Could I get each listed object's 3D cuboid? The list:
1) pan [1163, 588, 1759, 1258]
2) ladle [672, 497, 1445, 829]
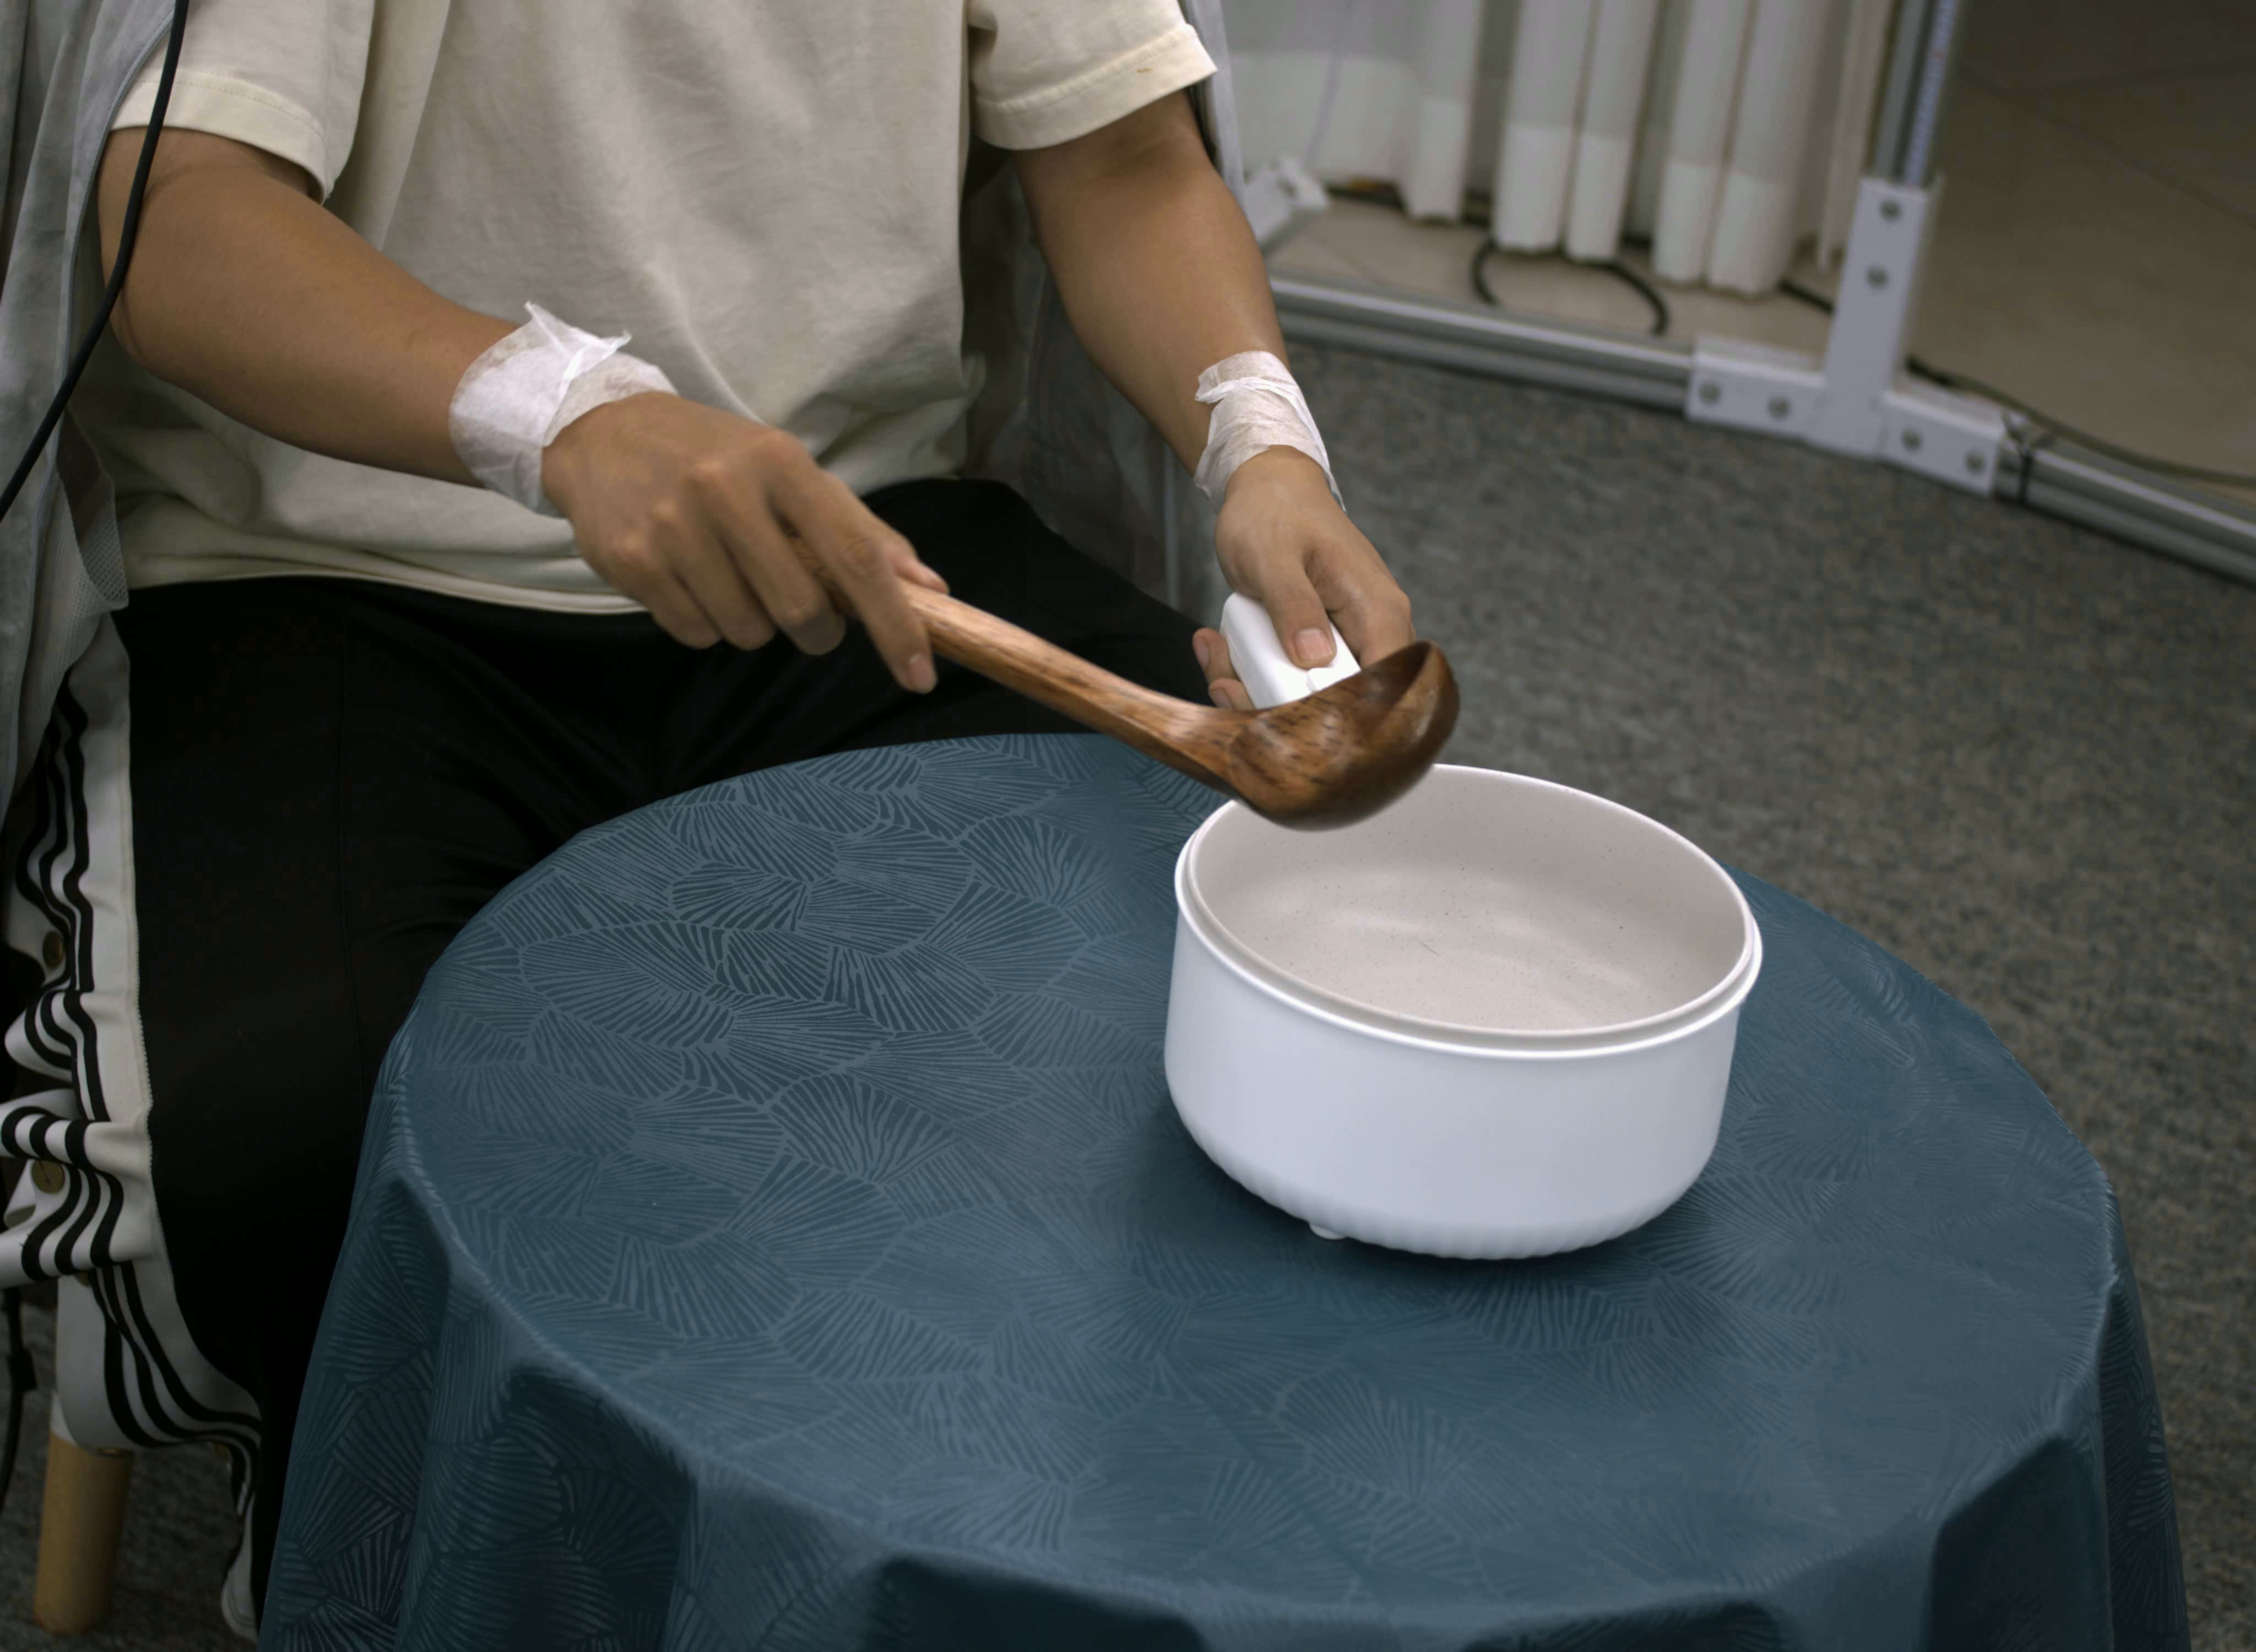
[{"bbox_3d":[0.093,0.032,1.897,0.200,0.102,0.358,-1,27,-14],"label":"pan"},{"bbox_3d":[-0.026,-0.072,1.743,0.275,0.076,0.082,25,36,15],"label":"ladle"}]
